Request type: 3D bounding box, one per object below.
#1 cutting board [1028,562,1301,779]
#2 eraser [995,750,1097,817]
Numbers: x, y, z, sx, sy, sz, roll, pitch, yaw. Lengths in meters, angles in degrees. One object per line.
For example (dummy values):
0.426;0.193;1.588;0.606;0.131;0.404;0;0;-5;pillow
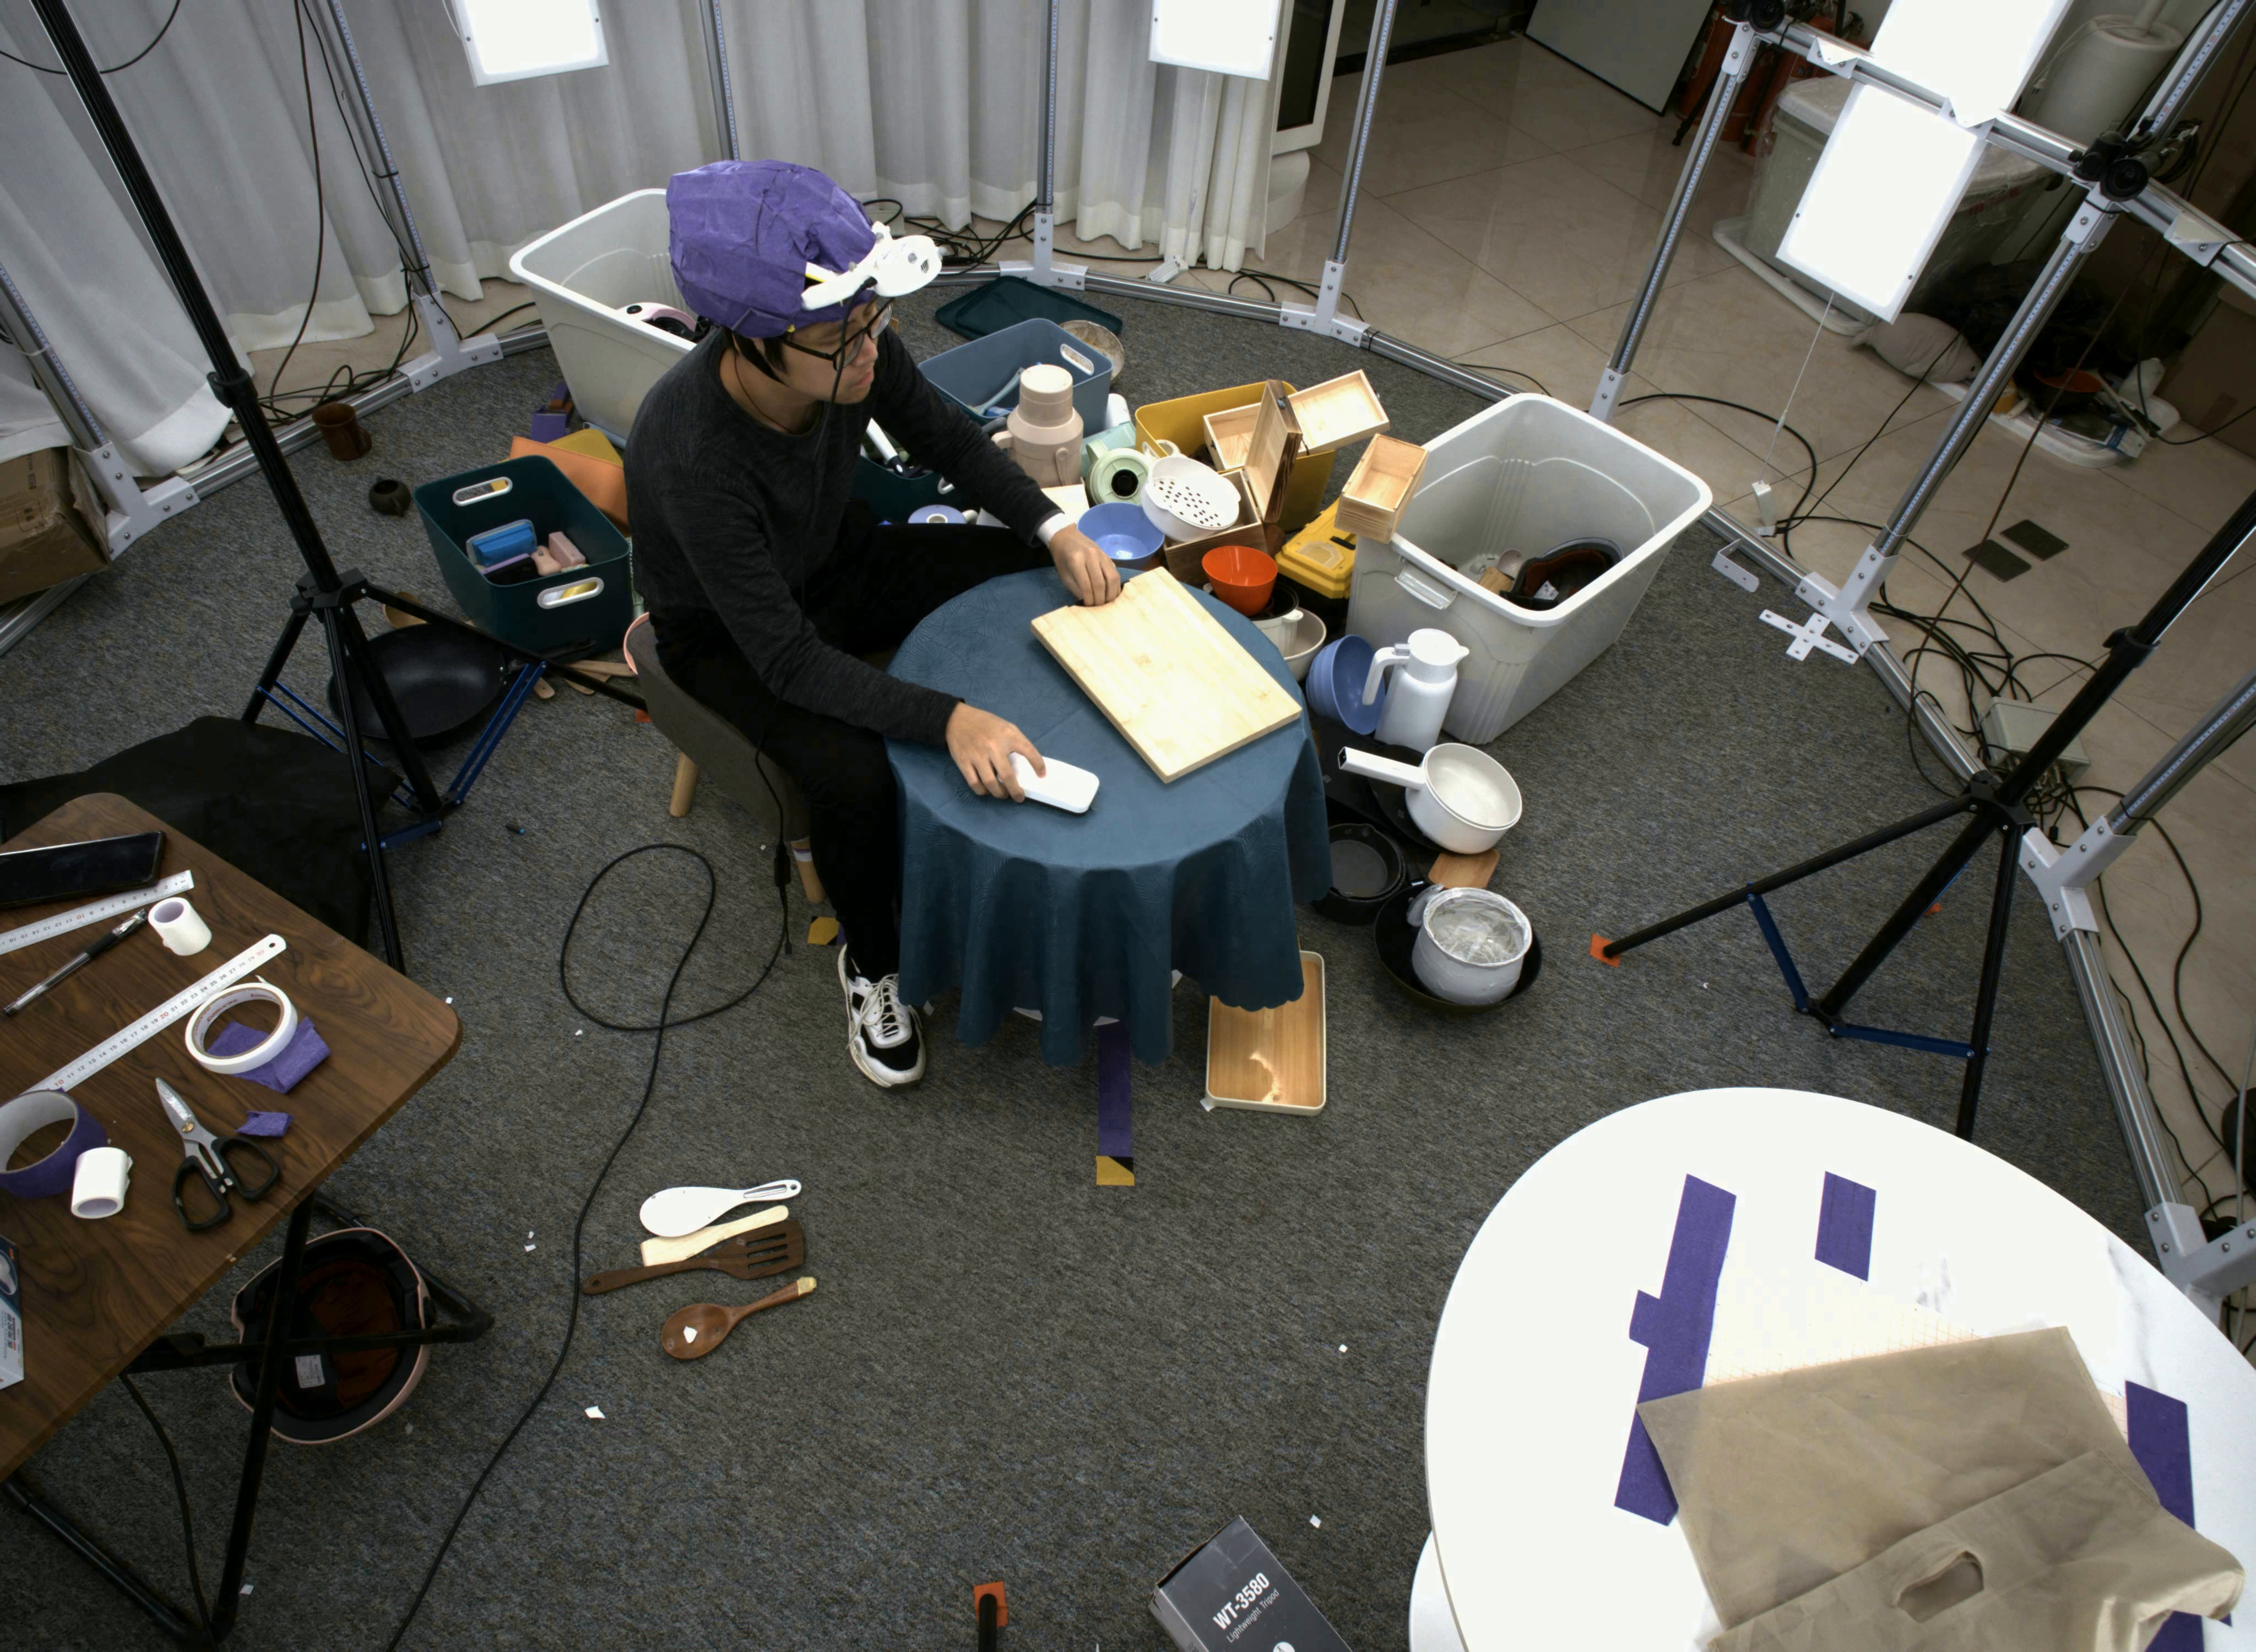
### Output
0.048;-0.232;1.852;0.252;0.023;0.355;-27;59;-25;cutting board
-0.107;-0.059;1.693;0.132;0.034;0.064;20;52;11;eraser
